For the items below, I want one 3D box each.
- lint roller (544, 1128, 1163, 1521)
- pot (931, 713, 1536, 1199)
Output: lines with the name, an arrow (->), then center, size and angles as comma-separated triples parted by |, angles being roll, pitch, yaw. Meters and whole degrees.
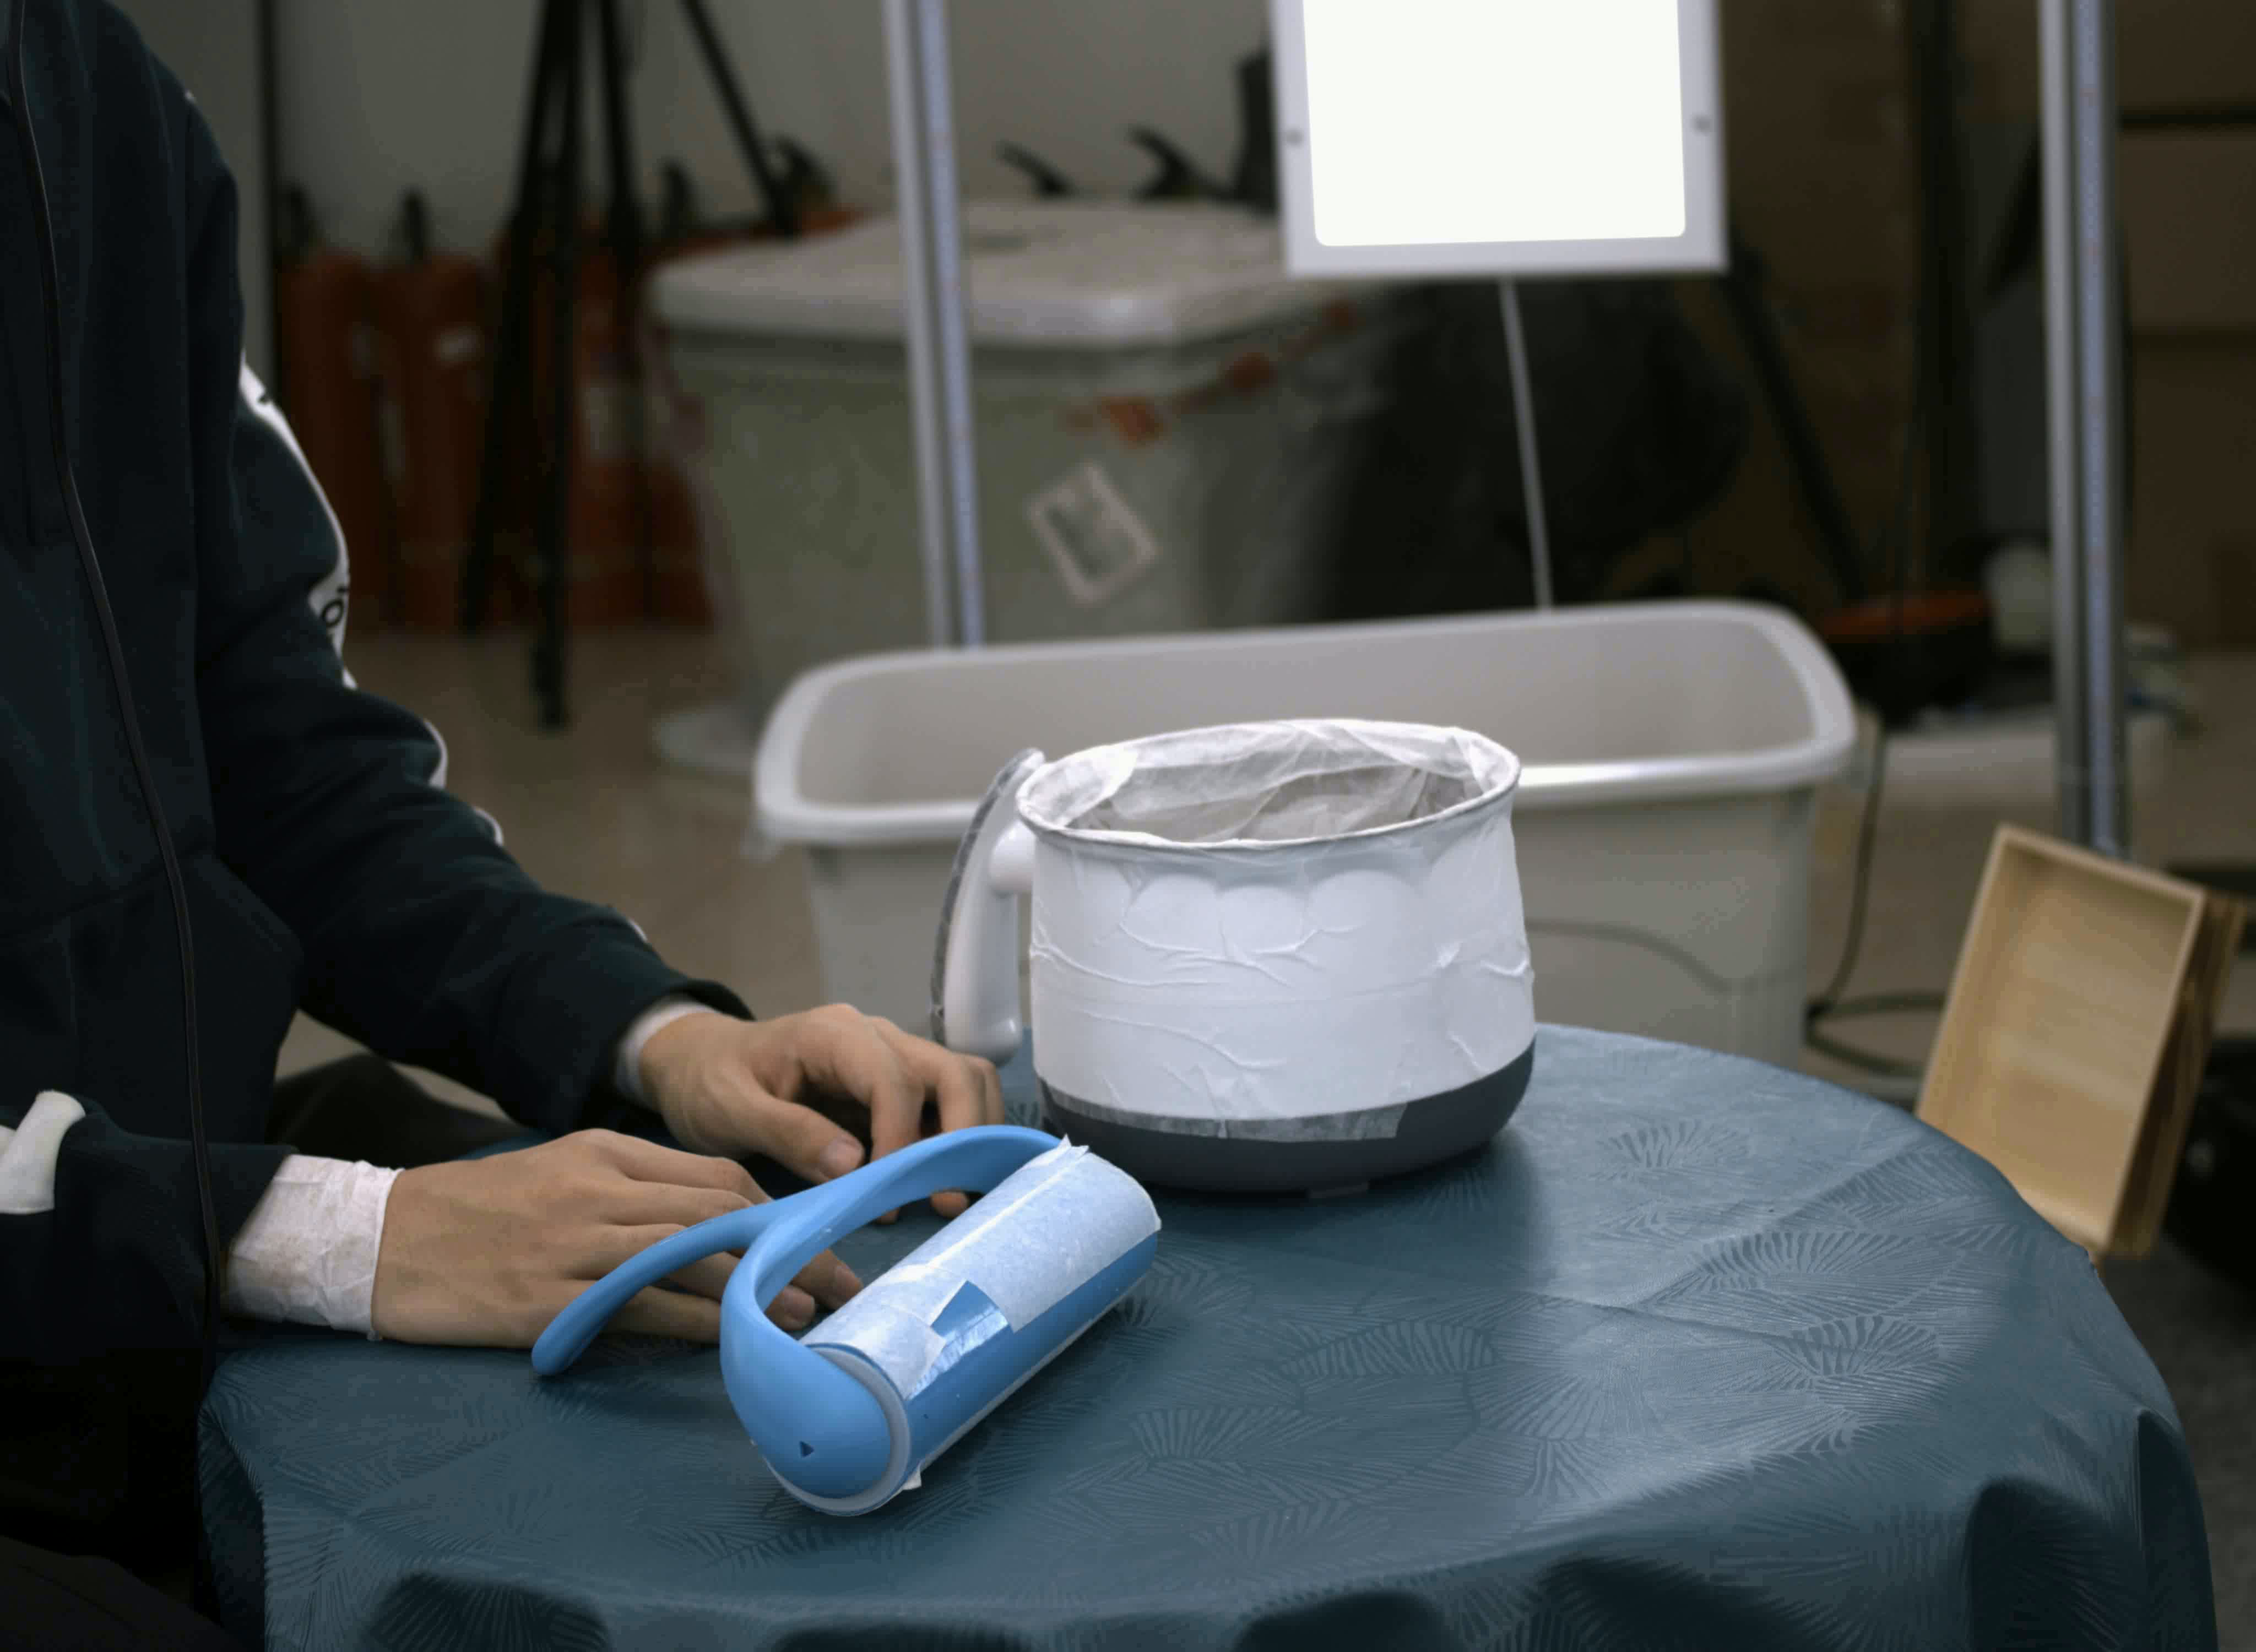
lint roller -> -0.103, 0.151, 1.715 | 0.182, 0.068, 0.225 | 1, 17, 20
pot -> 0.030, 0.042, 1.933 | 0.238, 0.137, 0.174 | 6, 17, 33
